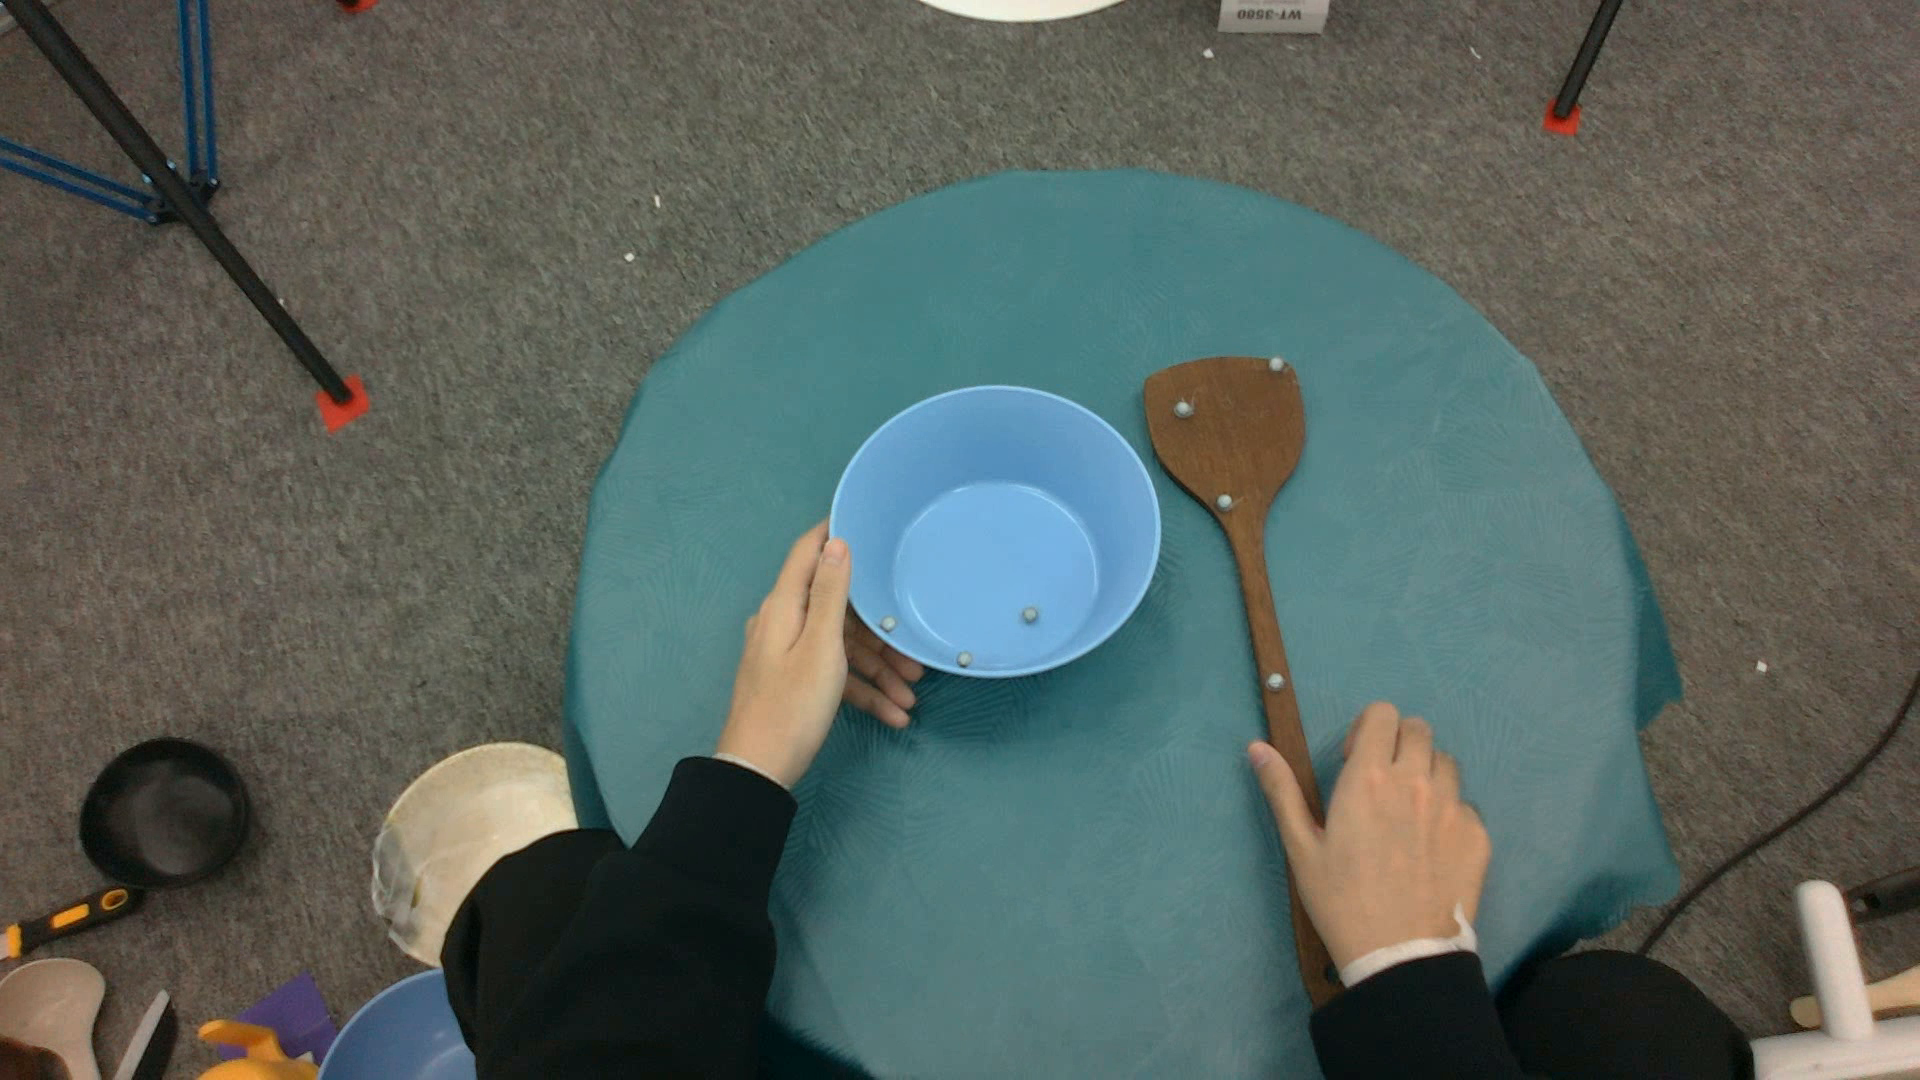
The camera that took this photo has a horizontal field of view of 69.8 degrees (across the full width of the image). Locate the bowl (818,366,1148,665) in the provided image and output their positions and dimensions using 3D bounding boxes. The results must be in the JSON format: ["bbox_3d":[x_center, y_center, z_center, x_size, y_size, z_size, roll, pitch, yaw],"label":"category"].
[{"bbox_3d":[0.013,-0.004,0.757,0.176,0.070,0.176,-1,64,2],"label":"bowl"}]

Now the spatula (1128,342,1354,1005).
[{"bbox_3d":[0.163,0.053,0.754,0.096,0.016,0.387,-6,63,0],"label":"spatula"}]
